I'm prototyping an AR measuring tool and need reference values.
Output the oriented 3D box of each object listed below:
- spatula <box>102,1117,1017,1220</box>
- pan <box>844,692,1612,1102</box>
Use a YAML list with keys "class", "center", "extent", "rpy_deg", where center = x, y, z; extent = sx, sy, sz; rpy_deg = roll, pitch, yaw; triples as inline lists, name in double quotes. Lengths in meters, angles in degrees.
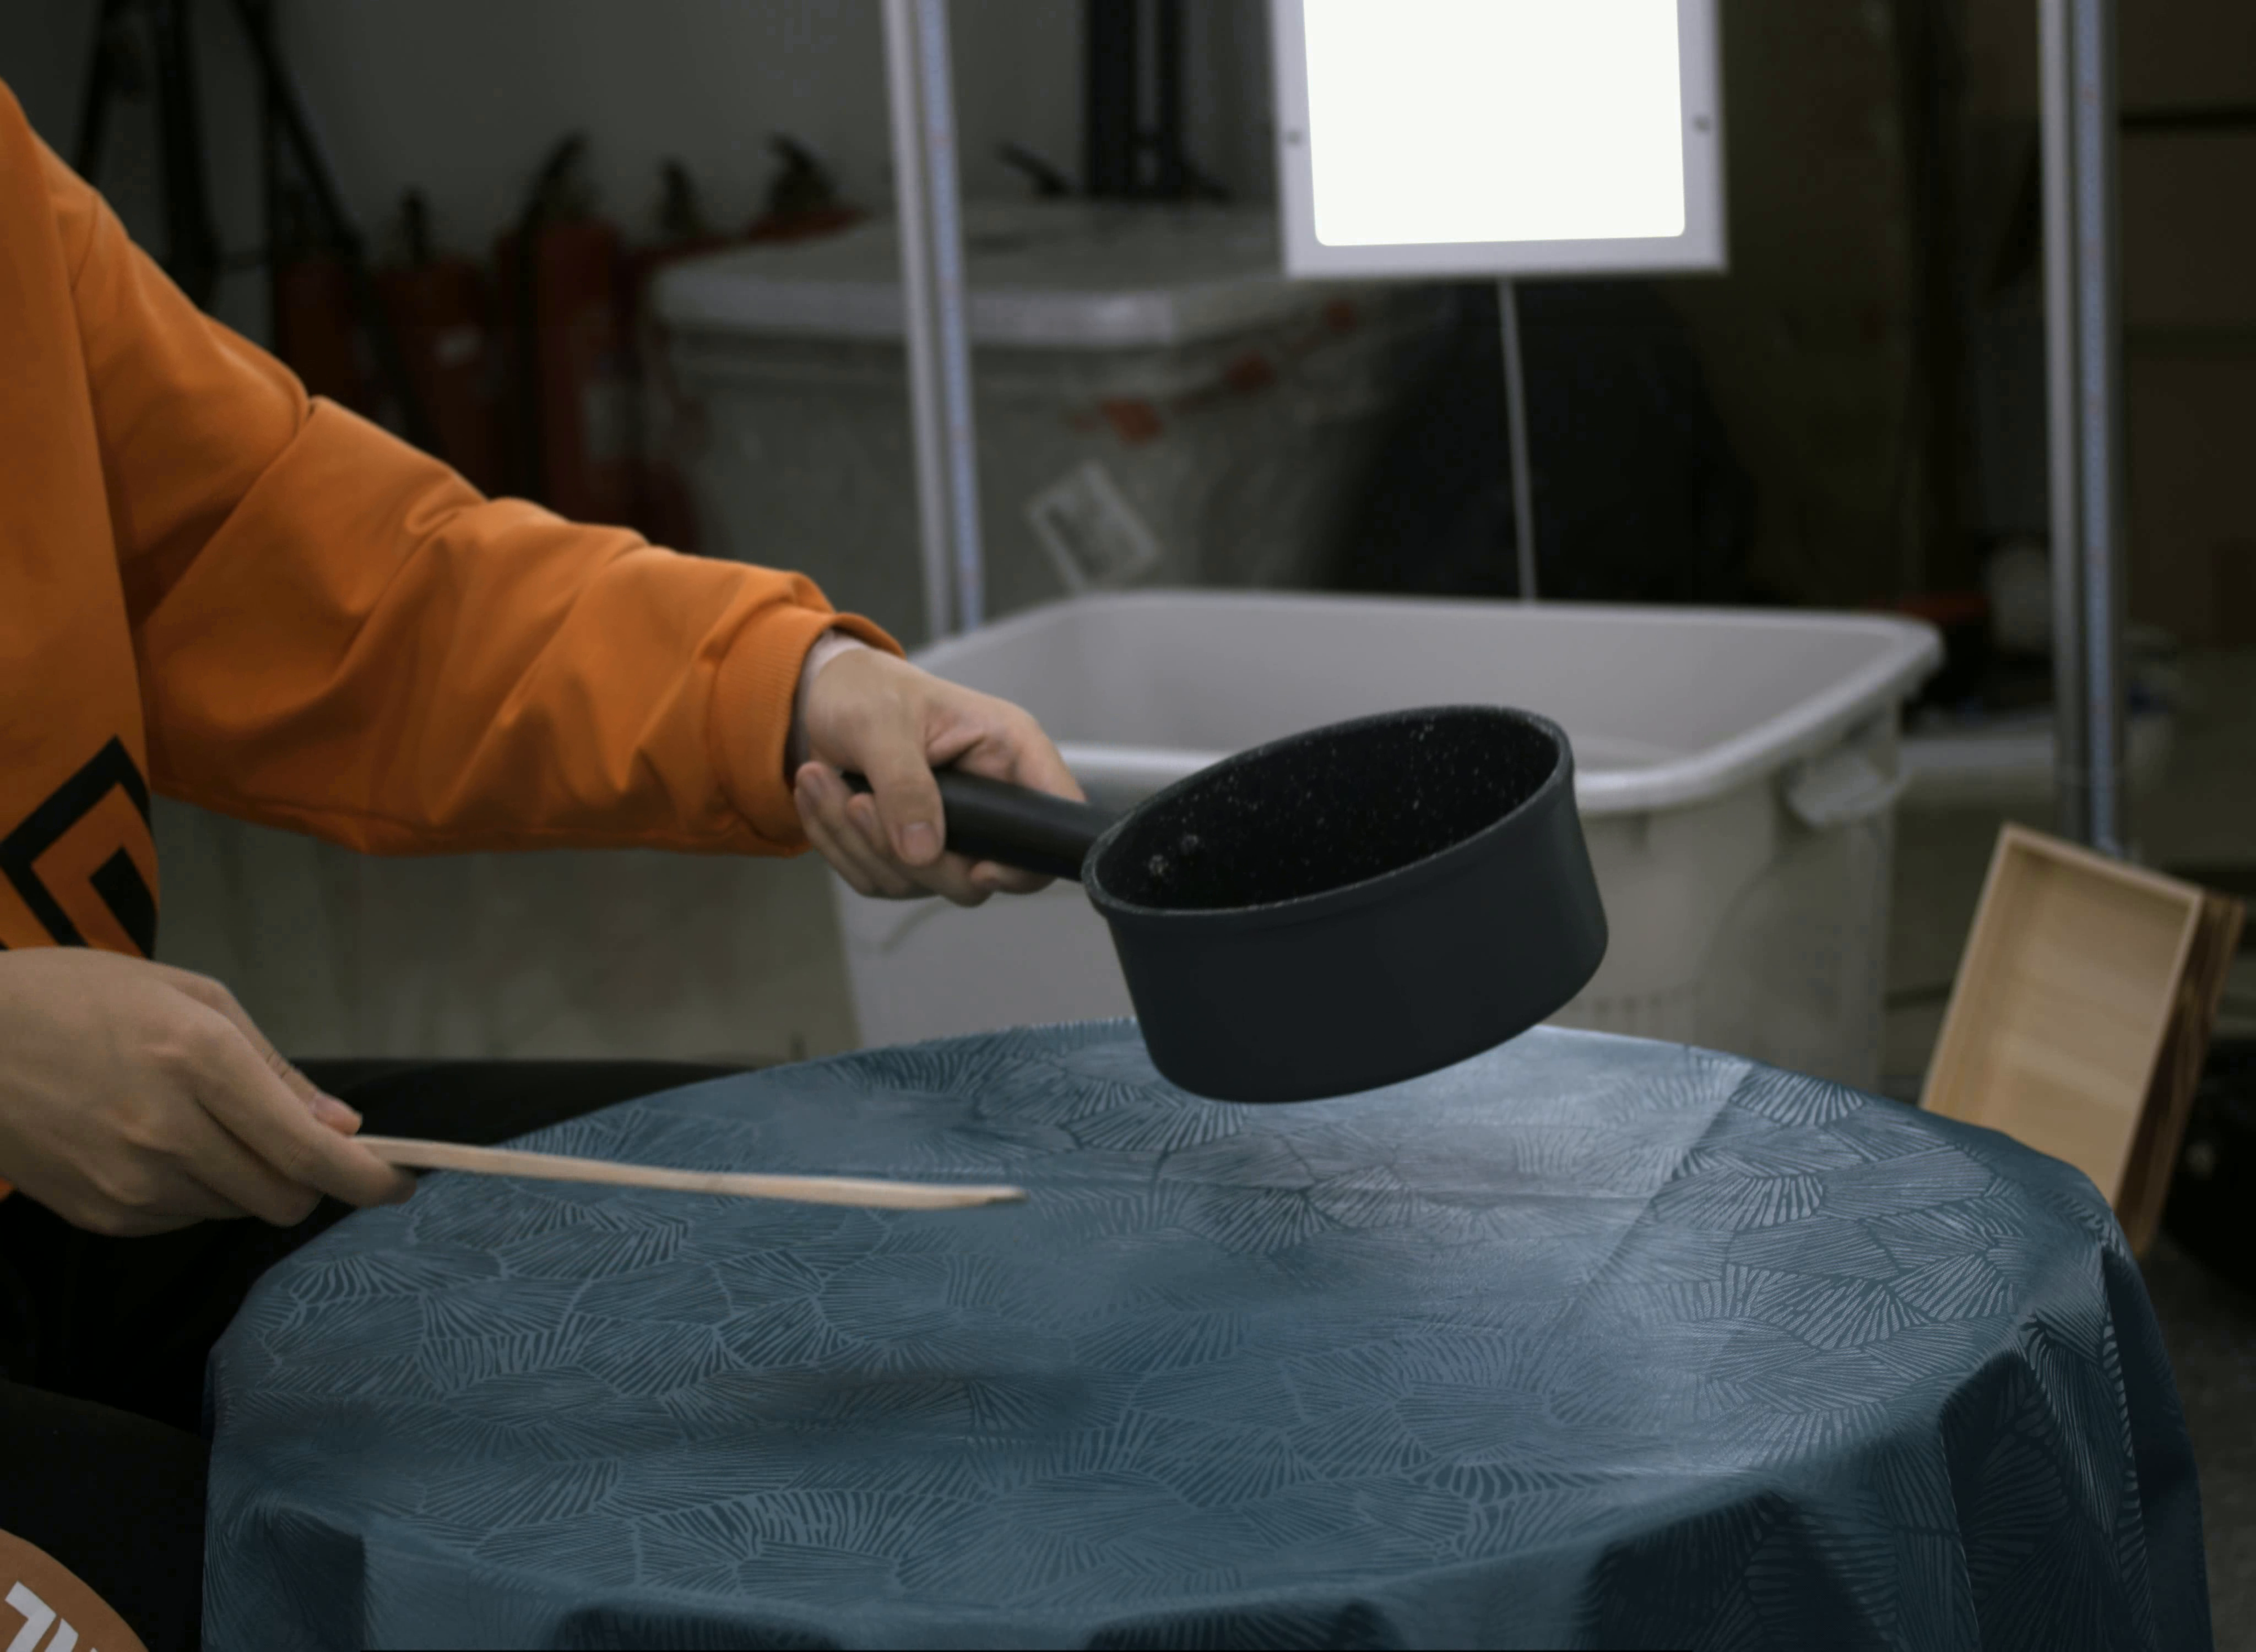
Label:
- class: "spatula"
  center: [-0.182, 0.108, 1.733]
  extent: [0.295, 0.011, 0.071]
  rpy_deg: [5, -1, 12]
- class: "pan"
  center: [0.023, 0.018, 1.922]
  extent: [0.168, 0.086, 0.336]
  rpy_deg: [-31, 23, -36]
